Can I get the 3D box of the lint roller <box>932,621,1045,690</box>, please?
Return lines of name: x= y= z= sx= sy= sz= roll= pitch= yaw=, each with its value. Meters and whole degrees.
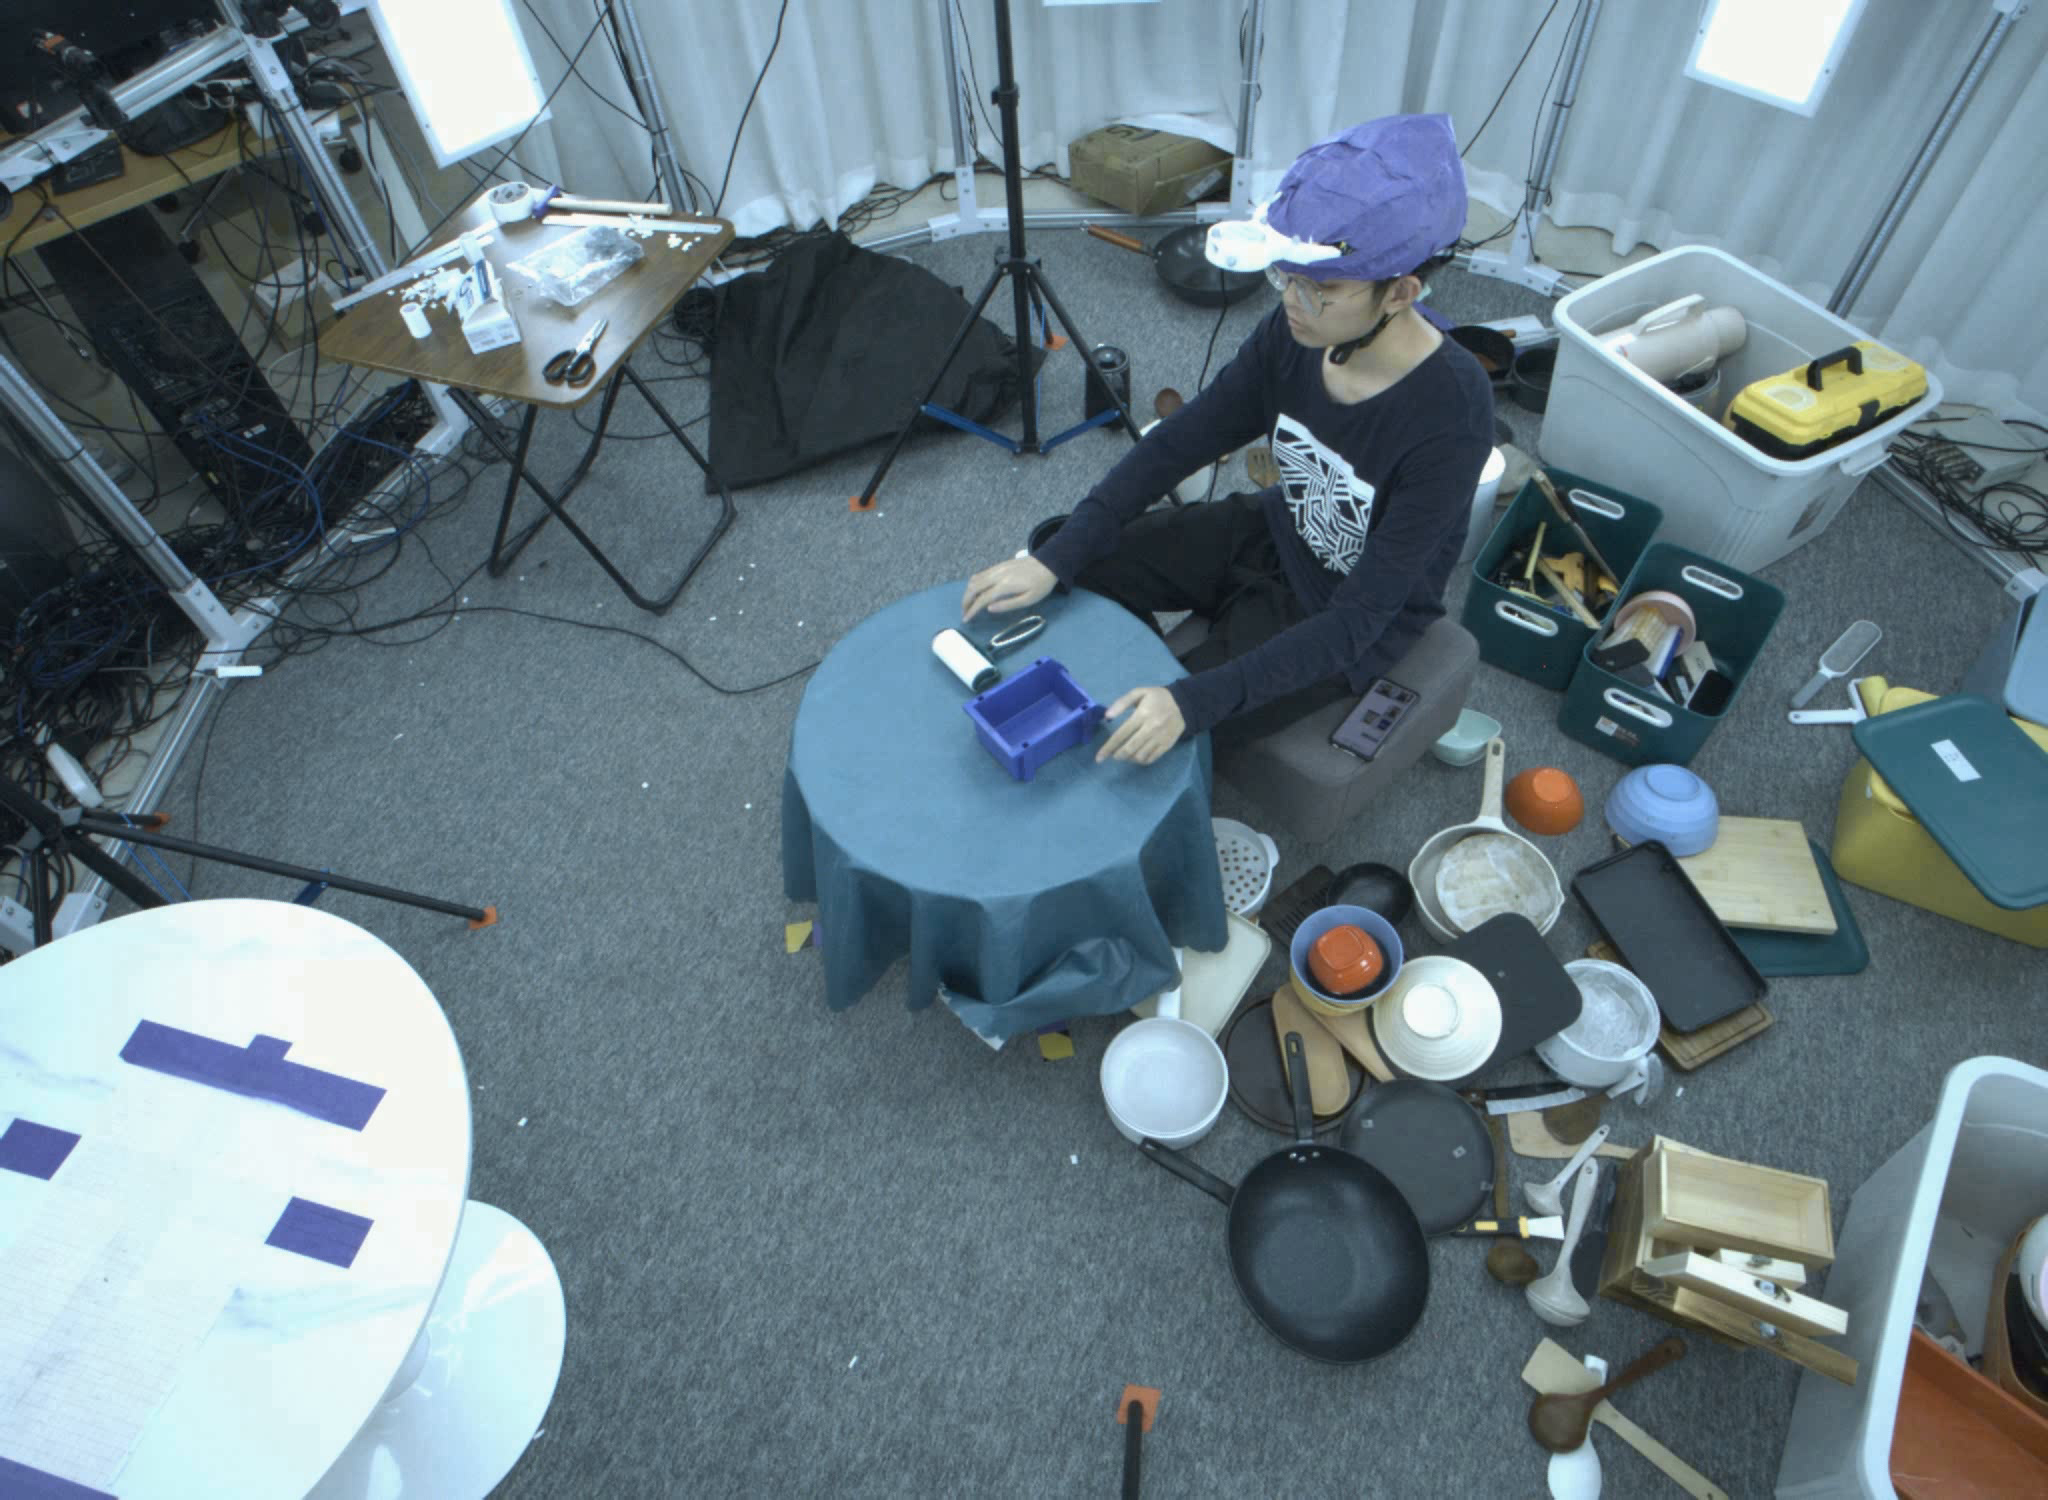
lint roller: x=-0.040 y=-0.170 z=1.894 sx=0.182 sy=0.049 sz=0.132 roll=-31 pitch=59 yaw=-25

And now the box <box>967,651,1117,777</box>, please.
box: x=0.027 y=-0.057 z=1.784 sx=0.180 sy=0.083 sz=0.122 roll=-33 pitch=58 yaw=-17
